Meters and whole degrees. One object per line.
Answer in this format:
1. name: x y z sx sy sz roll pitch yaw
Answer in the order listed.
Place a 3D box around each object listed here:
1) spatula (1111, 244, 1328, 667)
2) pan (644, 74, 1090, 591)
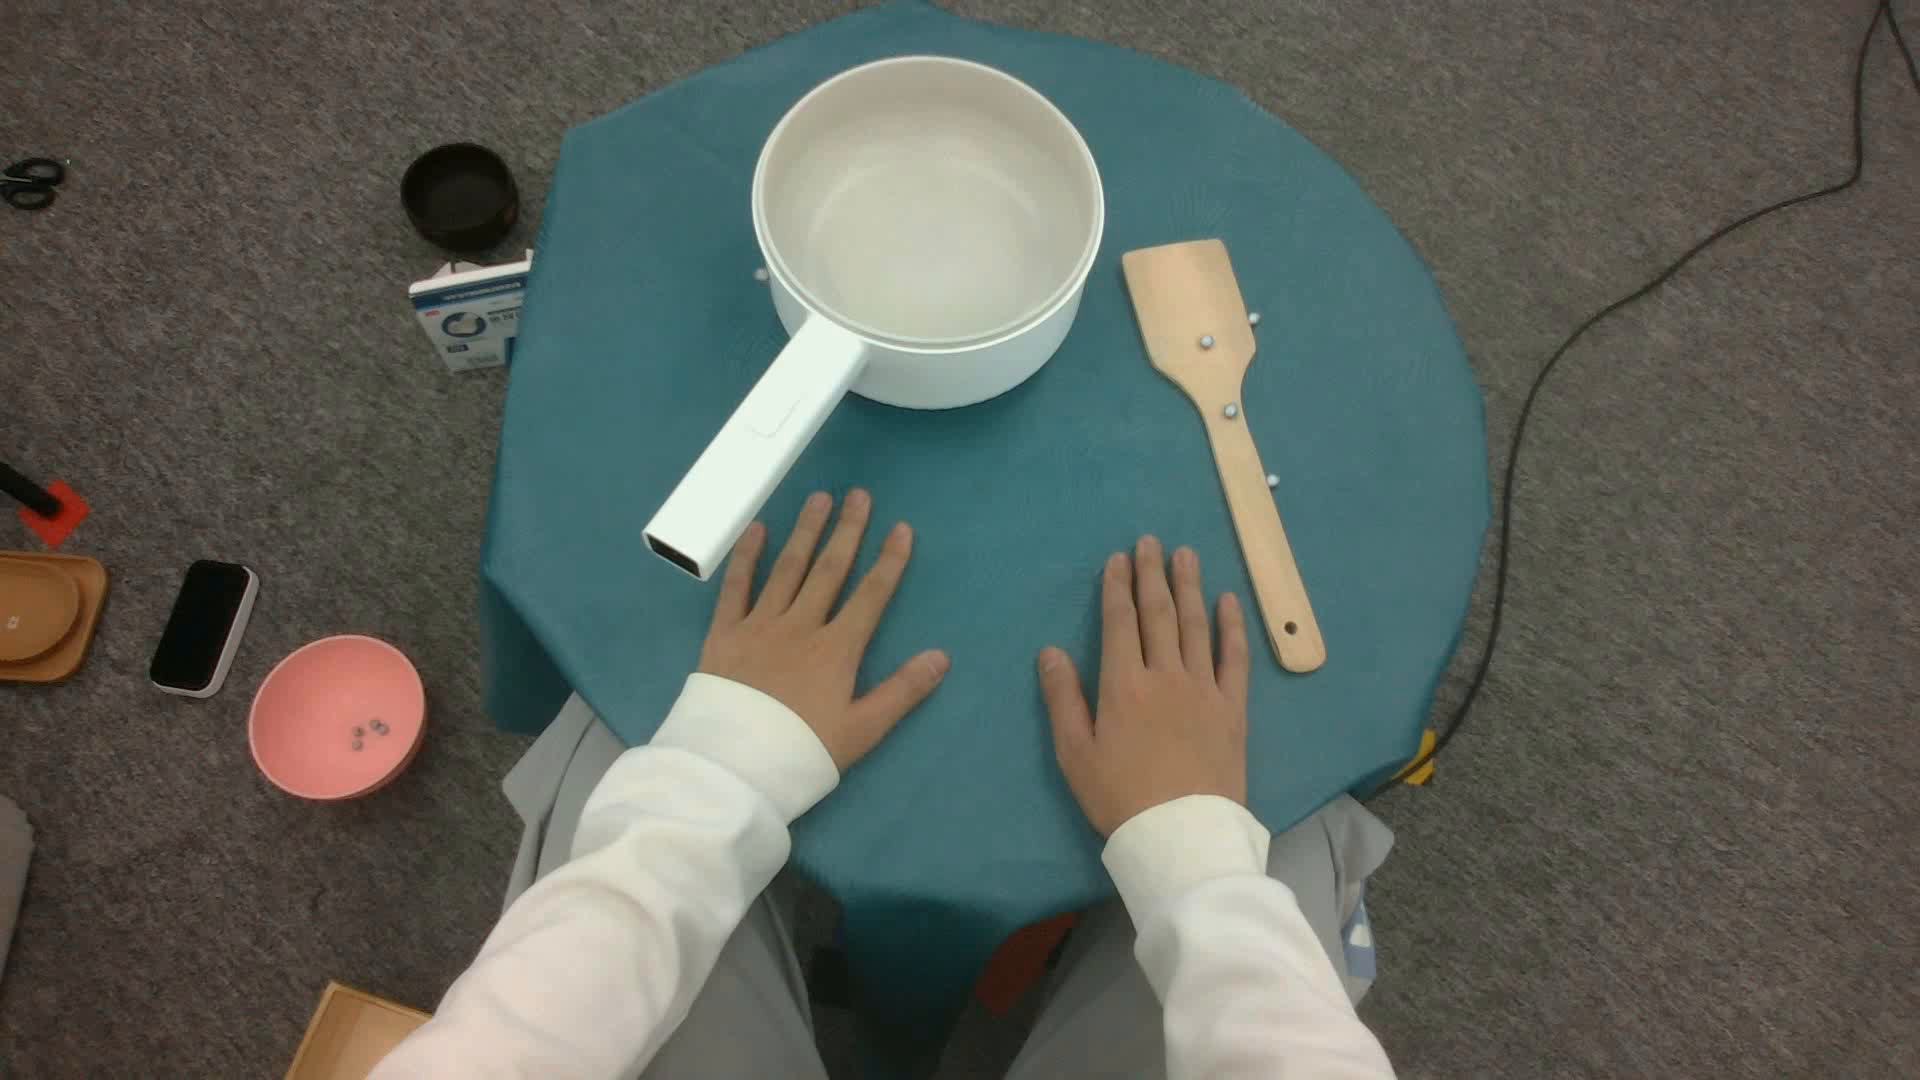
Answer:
1. spatula: 0.167 -0.059 0.847 0.072 0.010 0.294 -12 67 -8
2. pan: -0.062 -0.112 0.813 0.201 0.101 0.356 27 69 10
